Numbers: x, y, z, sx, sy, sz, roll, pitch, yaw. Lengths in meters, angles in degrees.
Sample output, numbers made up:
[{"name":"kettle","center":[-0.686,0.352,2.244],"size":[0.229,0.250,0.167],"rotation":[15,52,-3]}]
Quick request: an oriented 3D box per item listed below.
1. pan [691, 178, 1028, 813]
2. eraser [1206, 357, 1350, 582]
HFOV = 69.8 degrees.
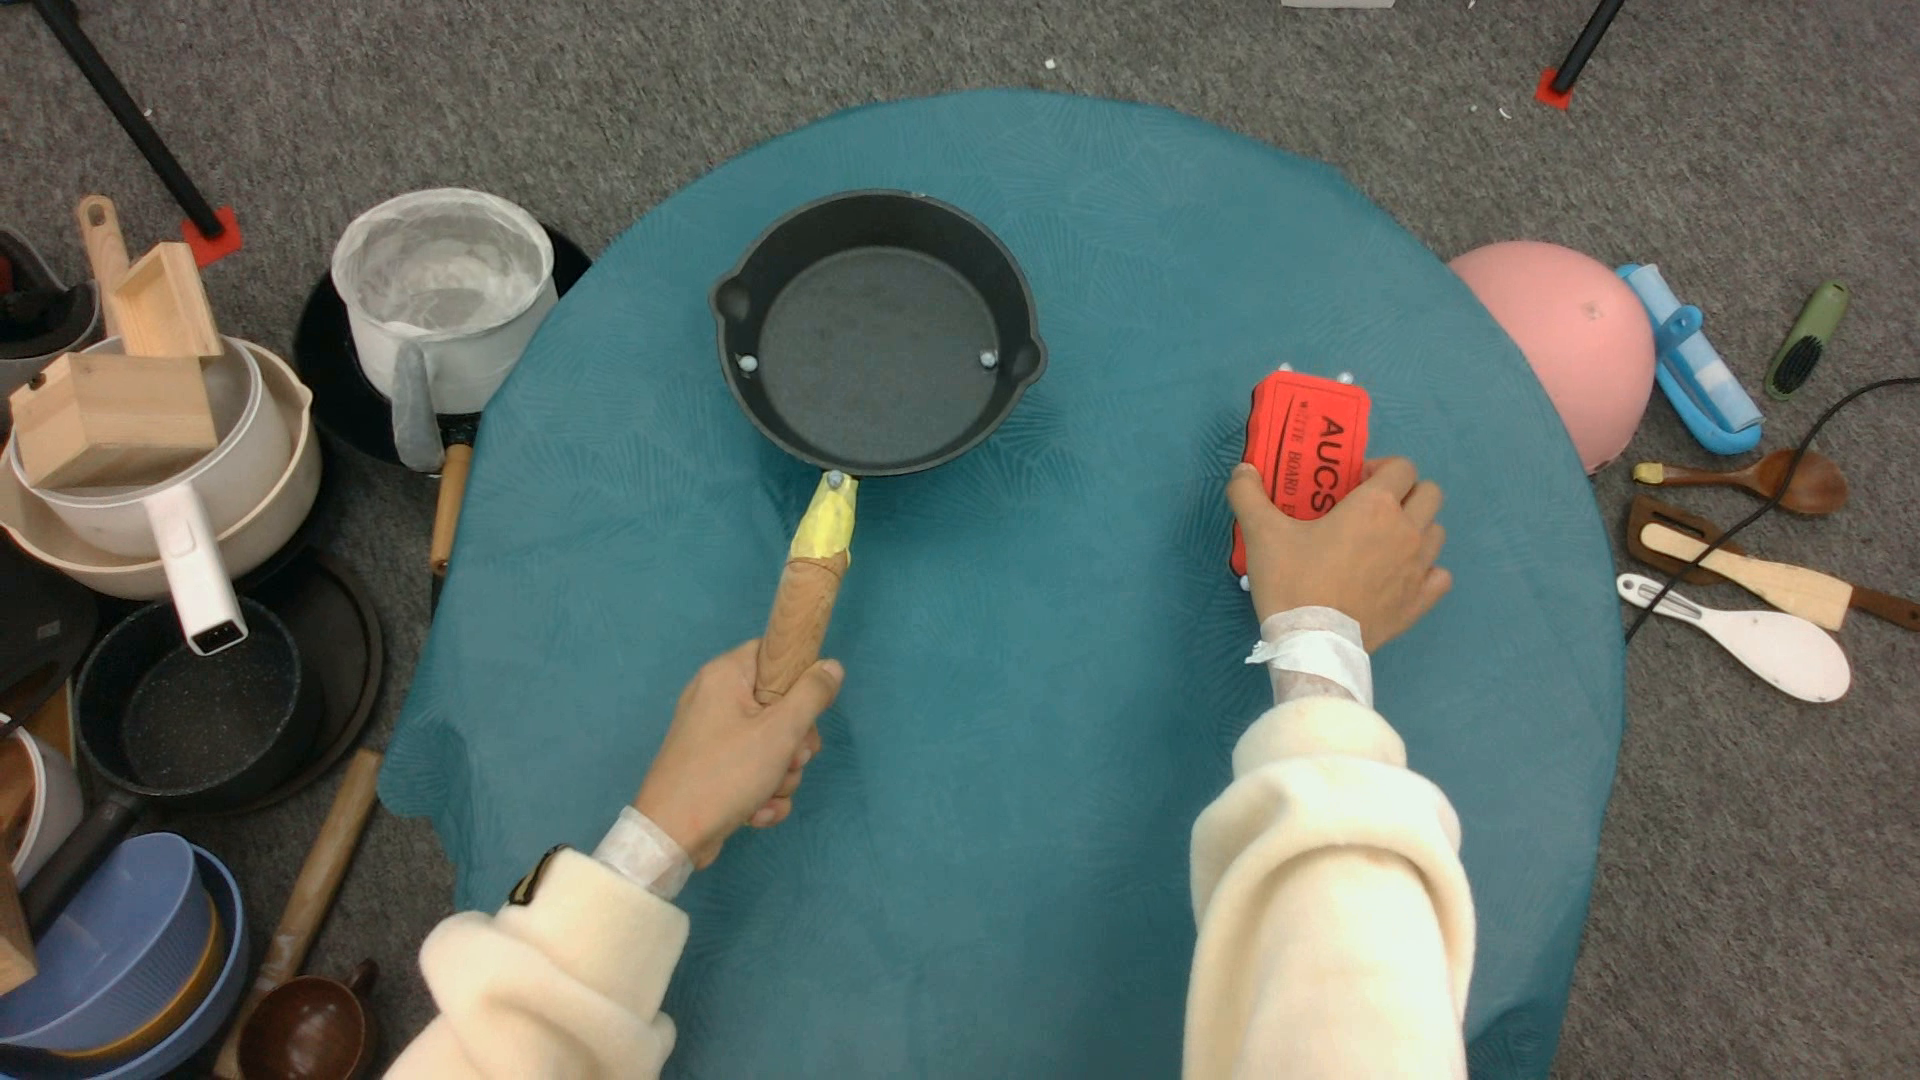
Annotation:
[{"name":"pan","center":[-0.069,-0.030,0.652],"size":[0.169,0.049,0.325],"rotation":[14,69,1]},{"name":"eraser","center":[0.163,-0.036,0.704],"size":[0.059,0.023,0.108],"rotation":[13,79,-8]}]
